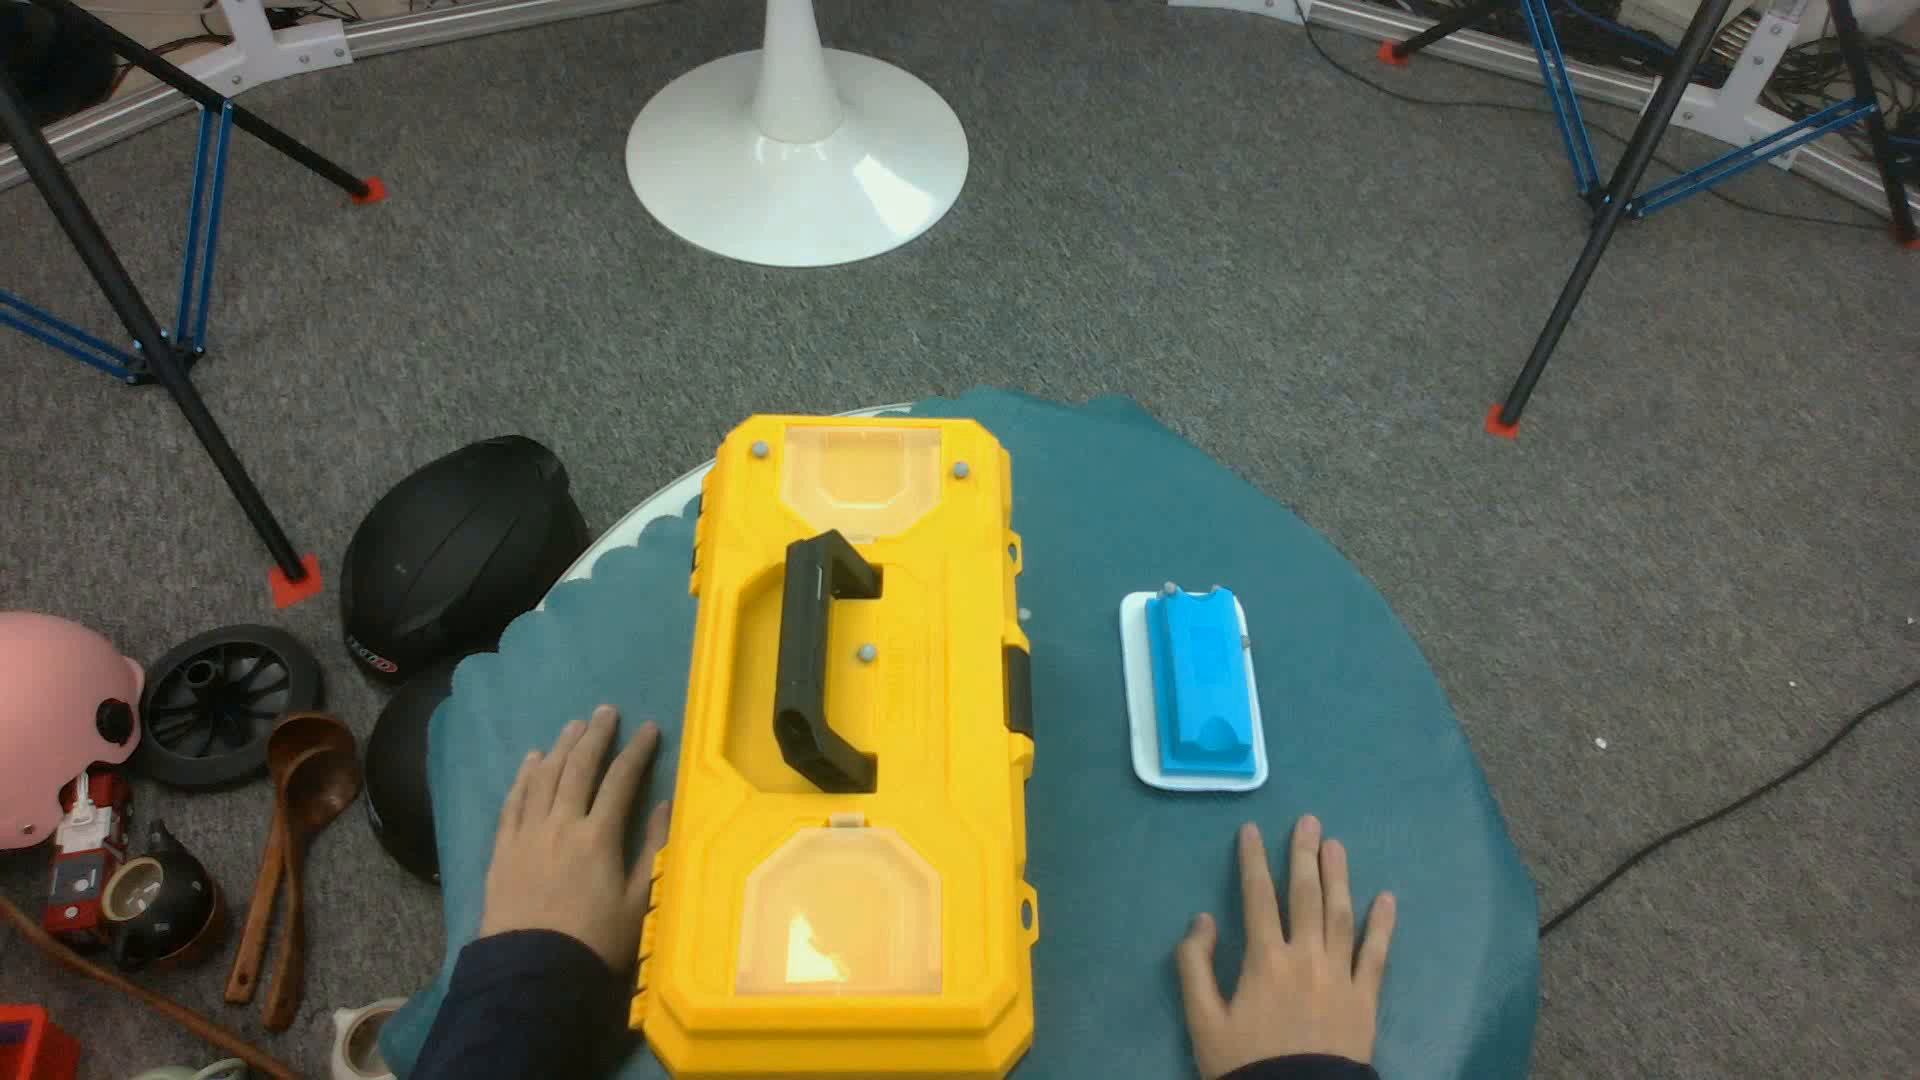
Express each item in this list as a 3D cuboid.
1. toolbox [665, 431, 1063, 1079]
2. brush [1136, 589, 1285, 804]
[{"bbox_3d":[-0.049,0.118,0.729,0.181,0.172,0.353,0,53,-2],"label":"toolbox"},{"bbox_3d":[0.149,0.087,0.831,0.084,0.055,0.144,0,51,2],"label":"brush"}]
